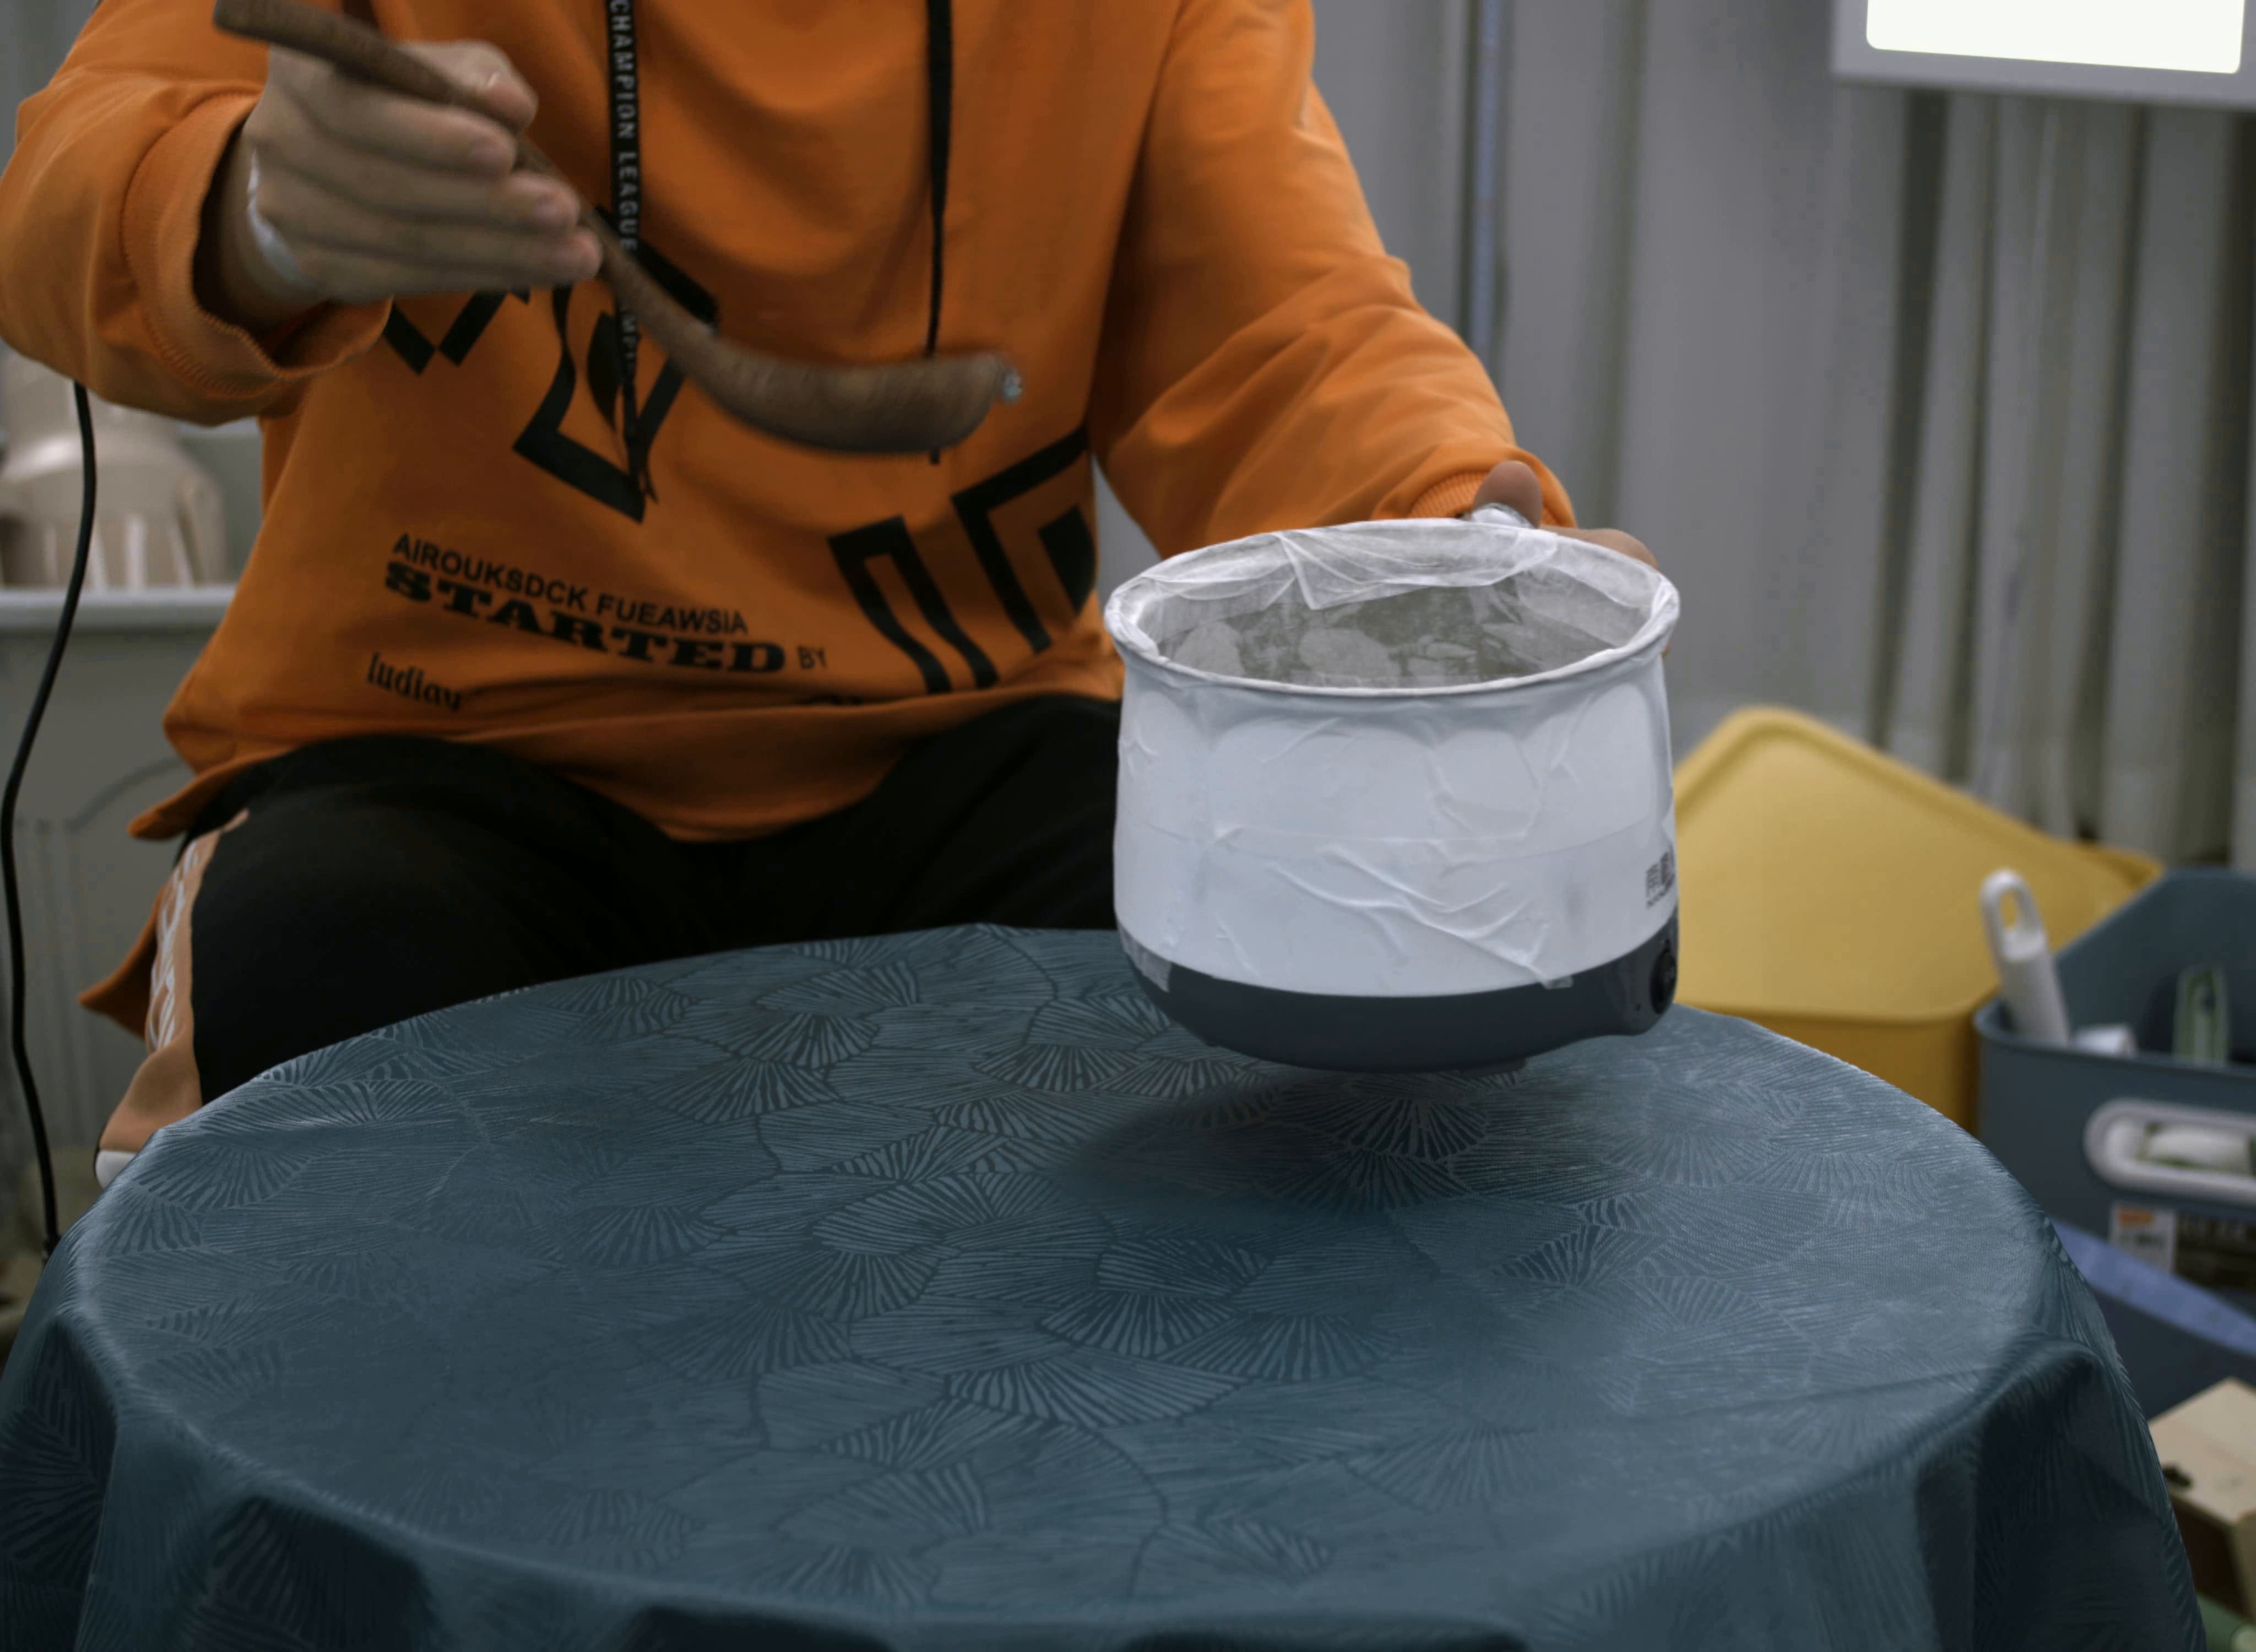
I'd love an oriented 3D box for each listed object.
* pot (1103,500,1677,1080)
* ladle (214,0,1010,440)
[{"bbox_3d":[0.092,-0.018,1.663,0.177,0.138,0.233,6,21,20],"label":"pot"},{"bbox_3d":[-0.148,-0.191,1.536,0.262,0.065,0.076,36,-17,-21],"label":"ladle"}]
